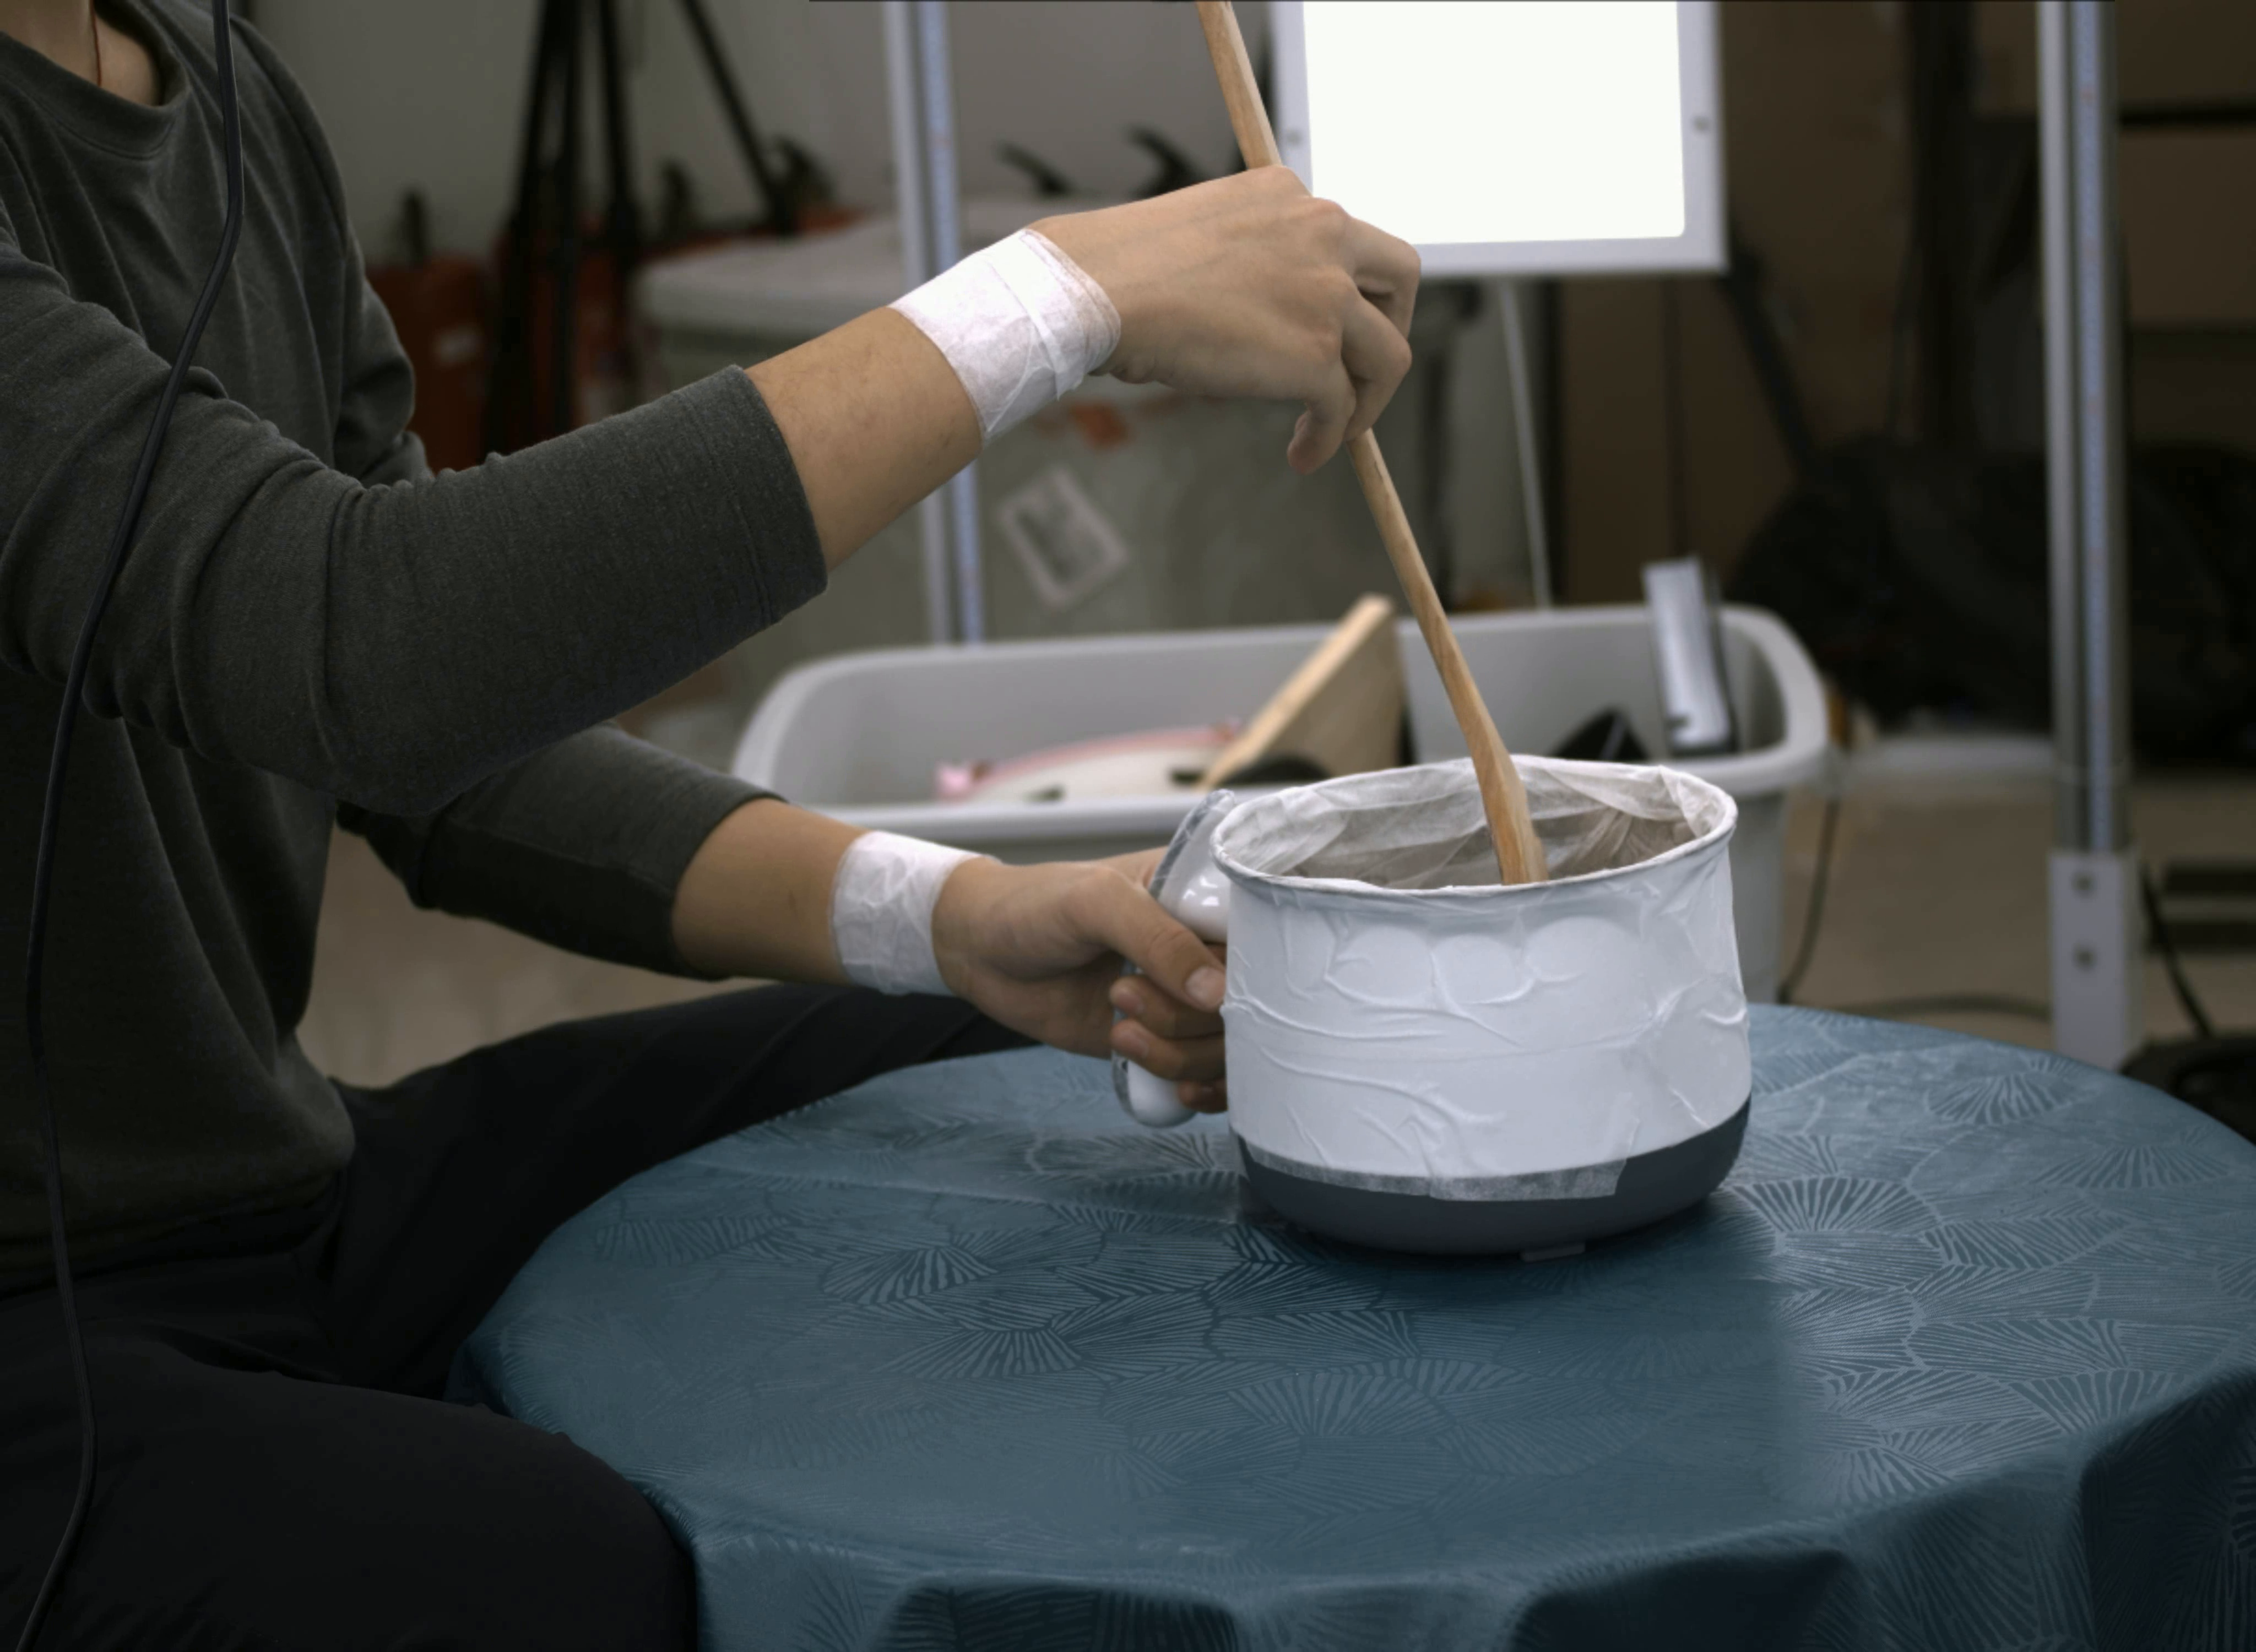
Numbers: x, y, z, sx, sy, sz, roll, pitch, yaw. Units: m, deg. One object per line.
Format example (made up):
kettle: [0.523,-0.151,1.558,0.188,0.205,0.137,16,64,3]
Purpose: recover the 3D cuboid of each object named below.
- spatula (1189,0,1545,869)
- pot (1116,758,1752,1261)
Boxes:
spatula: [0.085,-0.110,1.831,0.018,0.391,0.095,-19,12,10]
pot: [0.097,0.058,1.858,0.238,0.137,0.174,4,16,33]
